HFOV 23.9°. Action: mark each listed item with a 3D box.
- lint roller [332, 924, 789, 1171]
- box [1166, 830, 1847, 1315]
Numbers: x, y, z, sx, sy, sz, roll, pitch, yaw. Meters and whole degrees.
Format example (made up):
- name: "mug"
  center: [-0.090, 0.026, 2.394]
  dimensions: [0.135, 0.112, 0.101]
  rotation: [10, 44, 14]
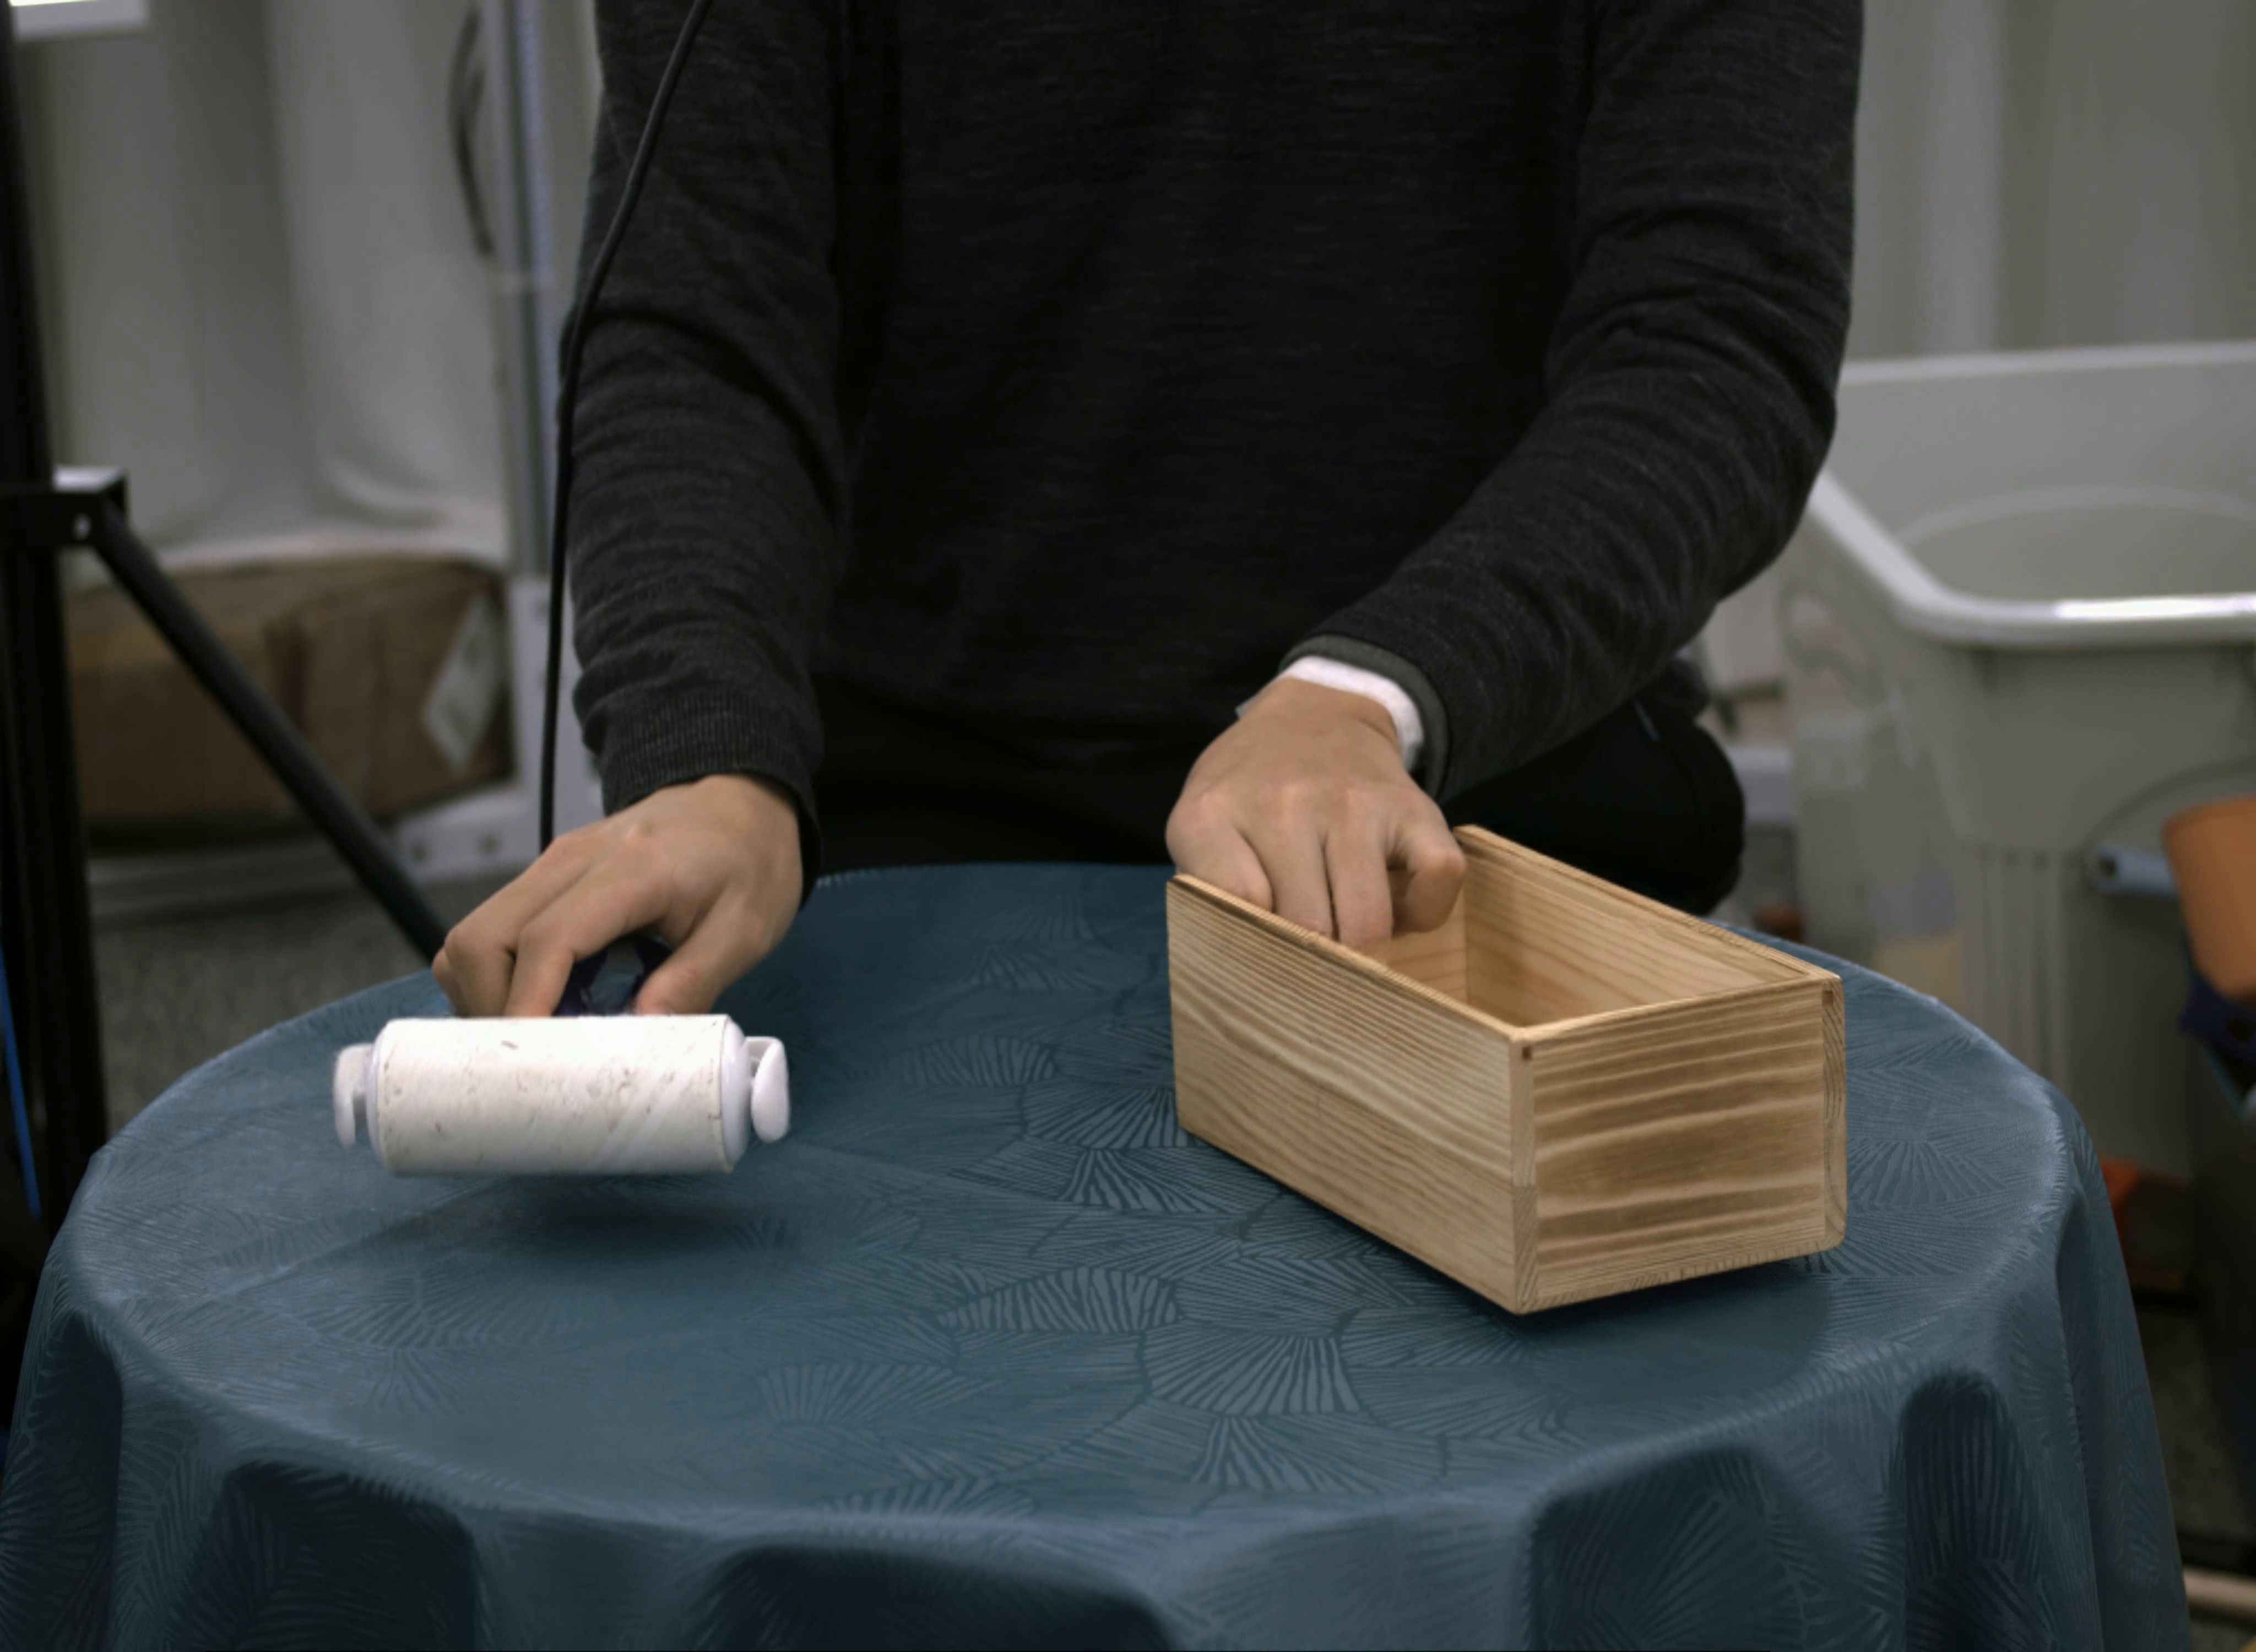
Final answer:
- name: "lint roller"
  center: [-0.160, 0.052, 1.605]
  dimensions: [0.133, 0.050, 0.181]
  rotation: [-1, 23, 6]
- name: "box"
  center: [0.105, 0.067, 1.526]
  dimensions: [0.105, 0.080, 0.215]
  rotation: [-9, 14, -24]
